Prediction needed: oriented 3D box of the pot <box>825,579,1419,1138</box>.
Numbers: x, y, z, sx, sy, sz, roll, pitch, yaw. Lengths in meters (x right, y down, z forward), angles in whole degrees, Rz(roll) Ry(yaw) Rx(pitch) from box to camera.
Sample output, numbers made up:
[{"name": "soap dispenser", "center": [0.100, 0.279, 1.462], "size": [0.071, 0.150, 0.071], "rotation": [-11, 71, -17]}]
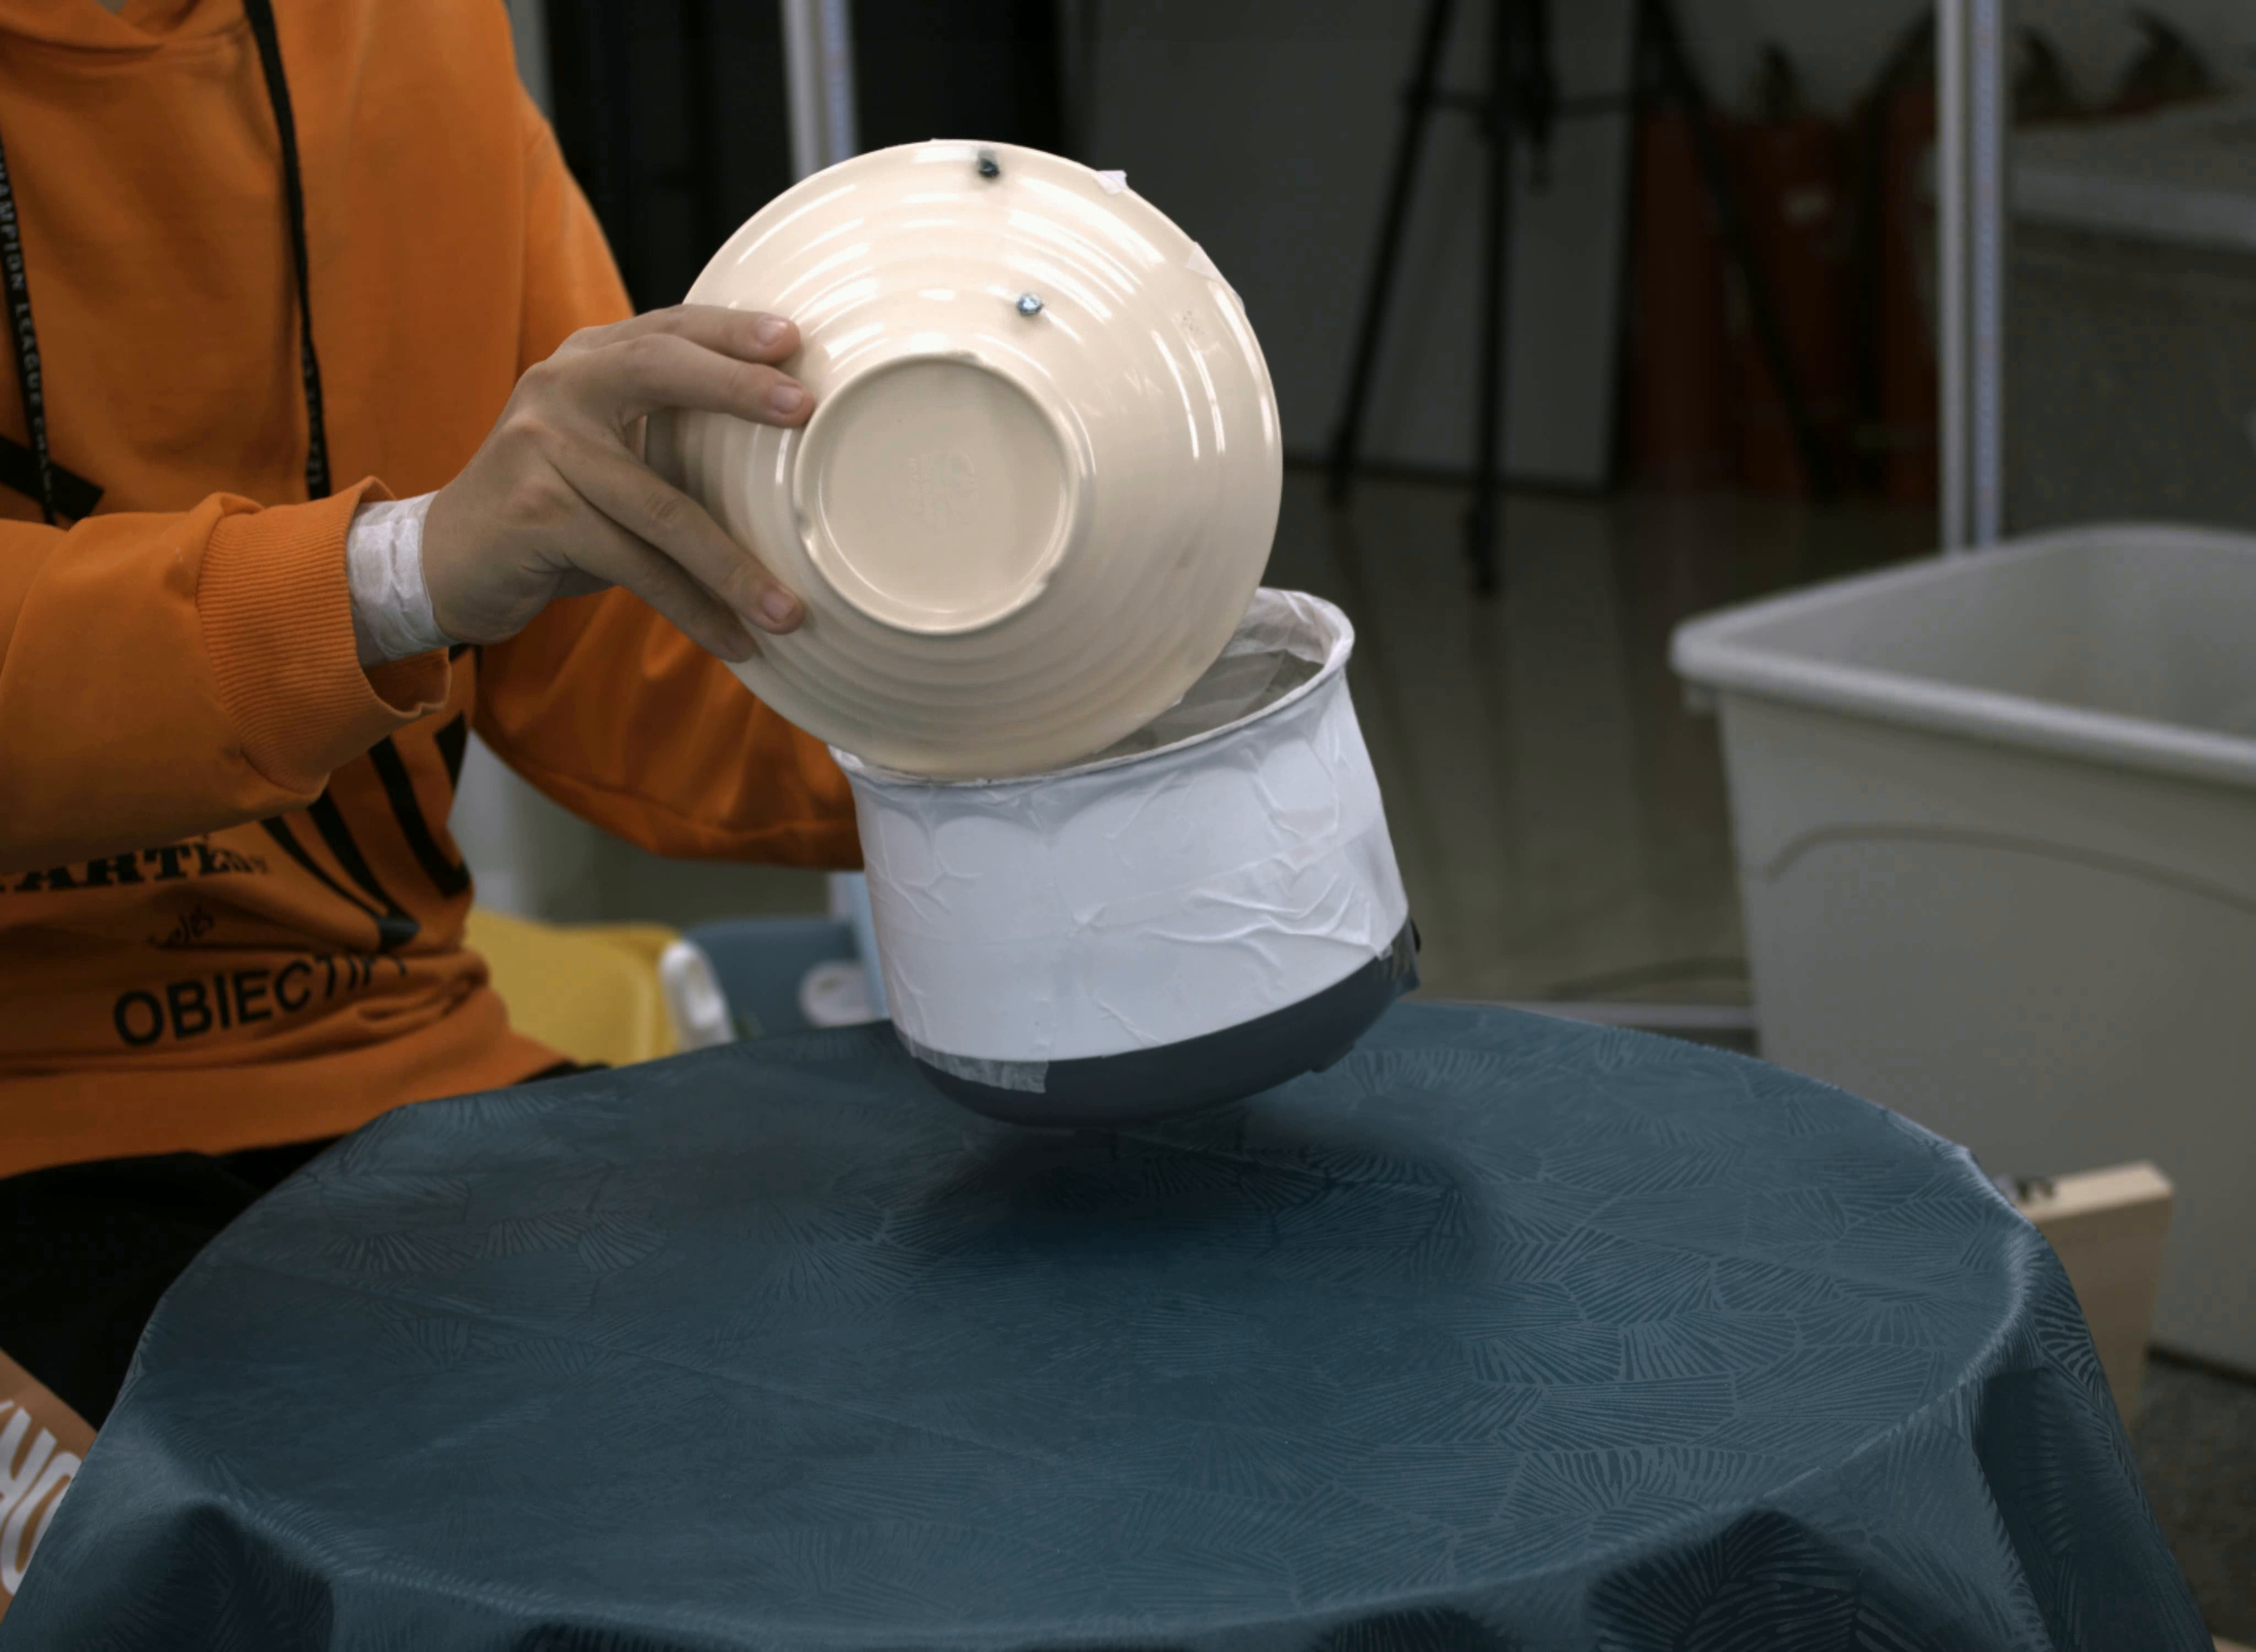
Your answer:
[{"name": "pot", "center": [-0.006, 0.003, 1.793], "size": [0.176, 0.137, 0.235], "rotation": [-14, 18, -6]}]

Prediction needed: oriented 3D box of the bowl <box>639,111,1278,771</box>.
[{"name": "bowl", "center": [-0.055, -0.114, 1.655], "size": [0.202, 0.206, 0.078], "rotation": [-2, 7, 5]}]
